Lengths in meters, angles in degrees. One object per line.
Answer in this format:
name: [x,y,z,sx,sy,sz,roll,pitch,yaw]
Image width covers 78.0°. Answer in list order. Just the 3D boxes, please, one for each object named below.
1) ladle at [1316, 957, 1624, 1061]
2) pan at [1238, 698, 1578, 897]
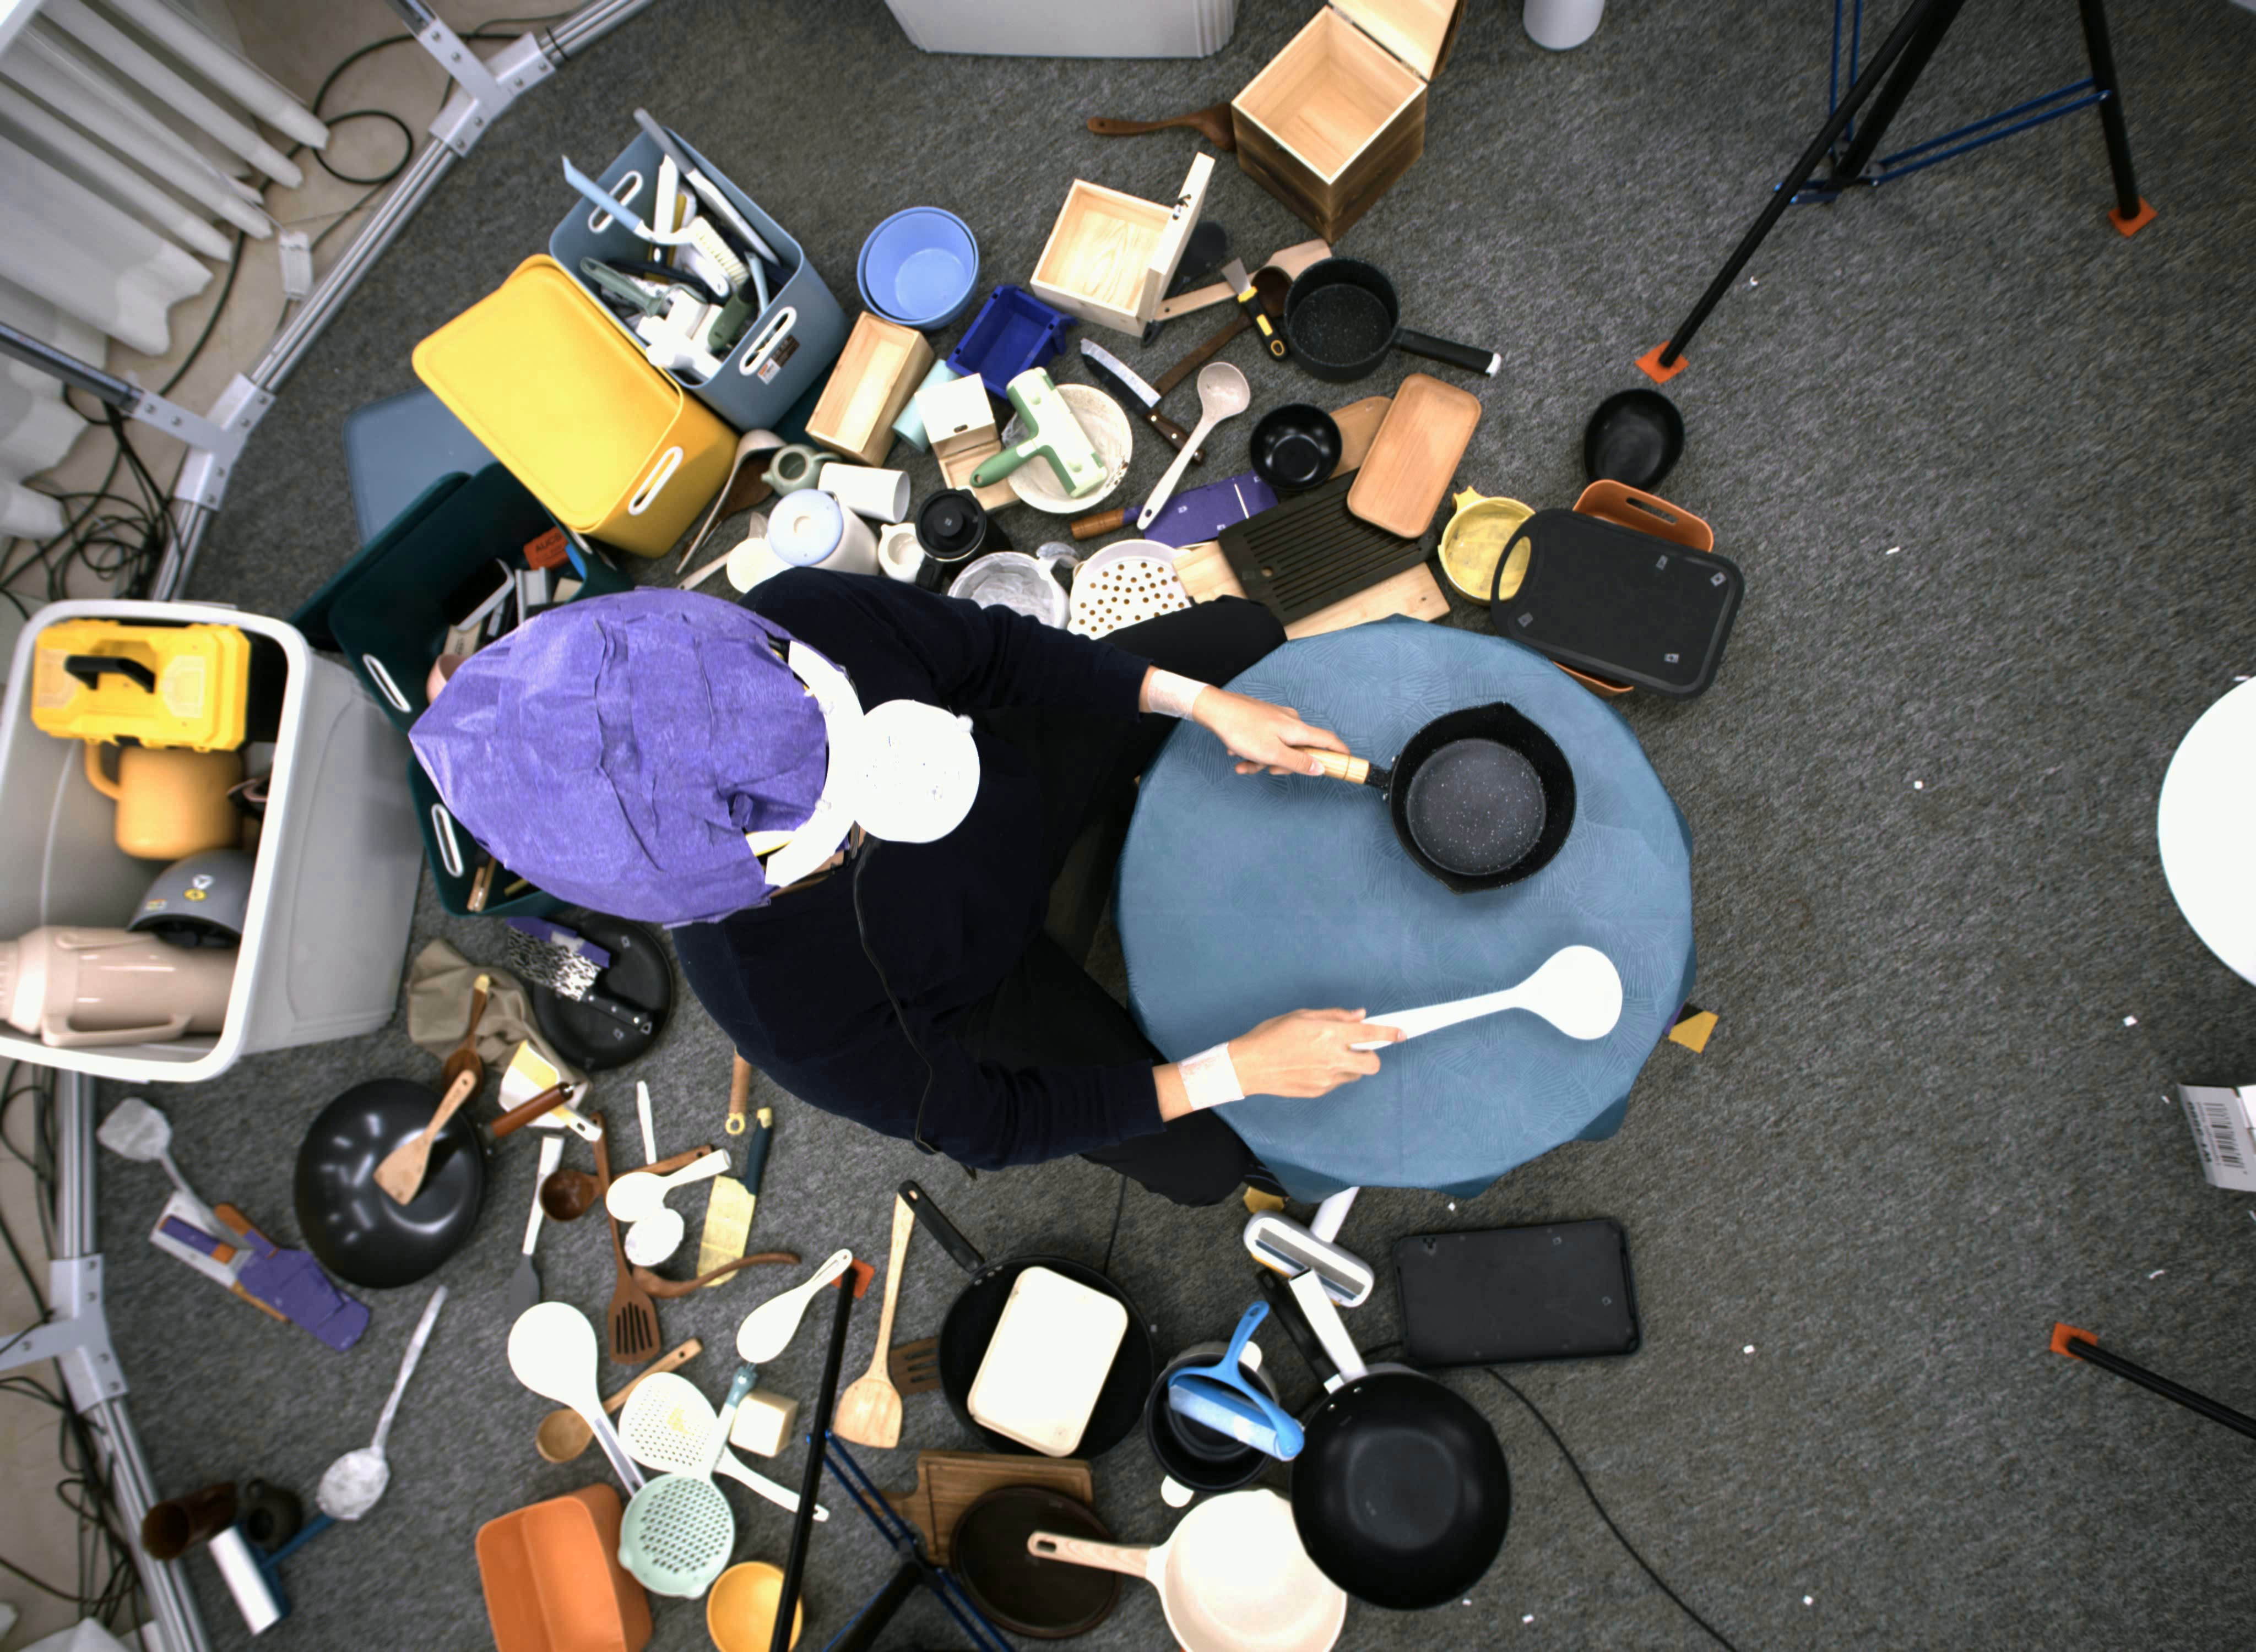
ladle: [0.333,0.188,1.348,0.293,0.069,0.091,-12,107,-4]
pan: [0.281,-0.044,1.409,0.343,0.108,0.207,13,90,9]
